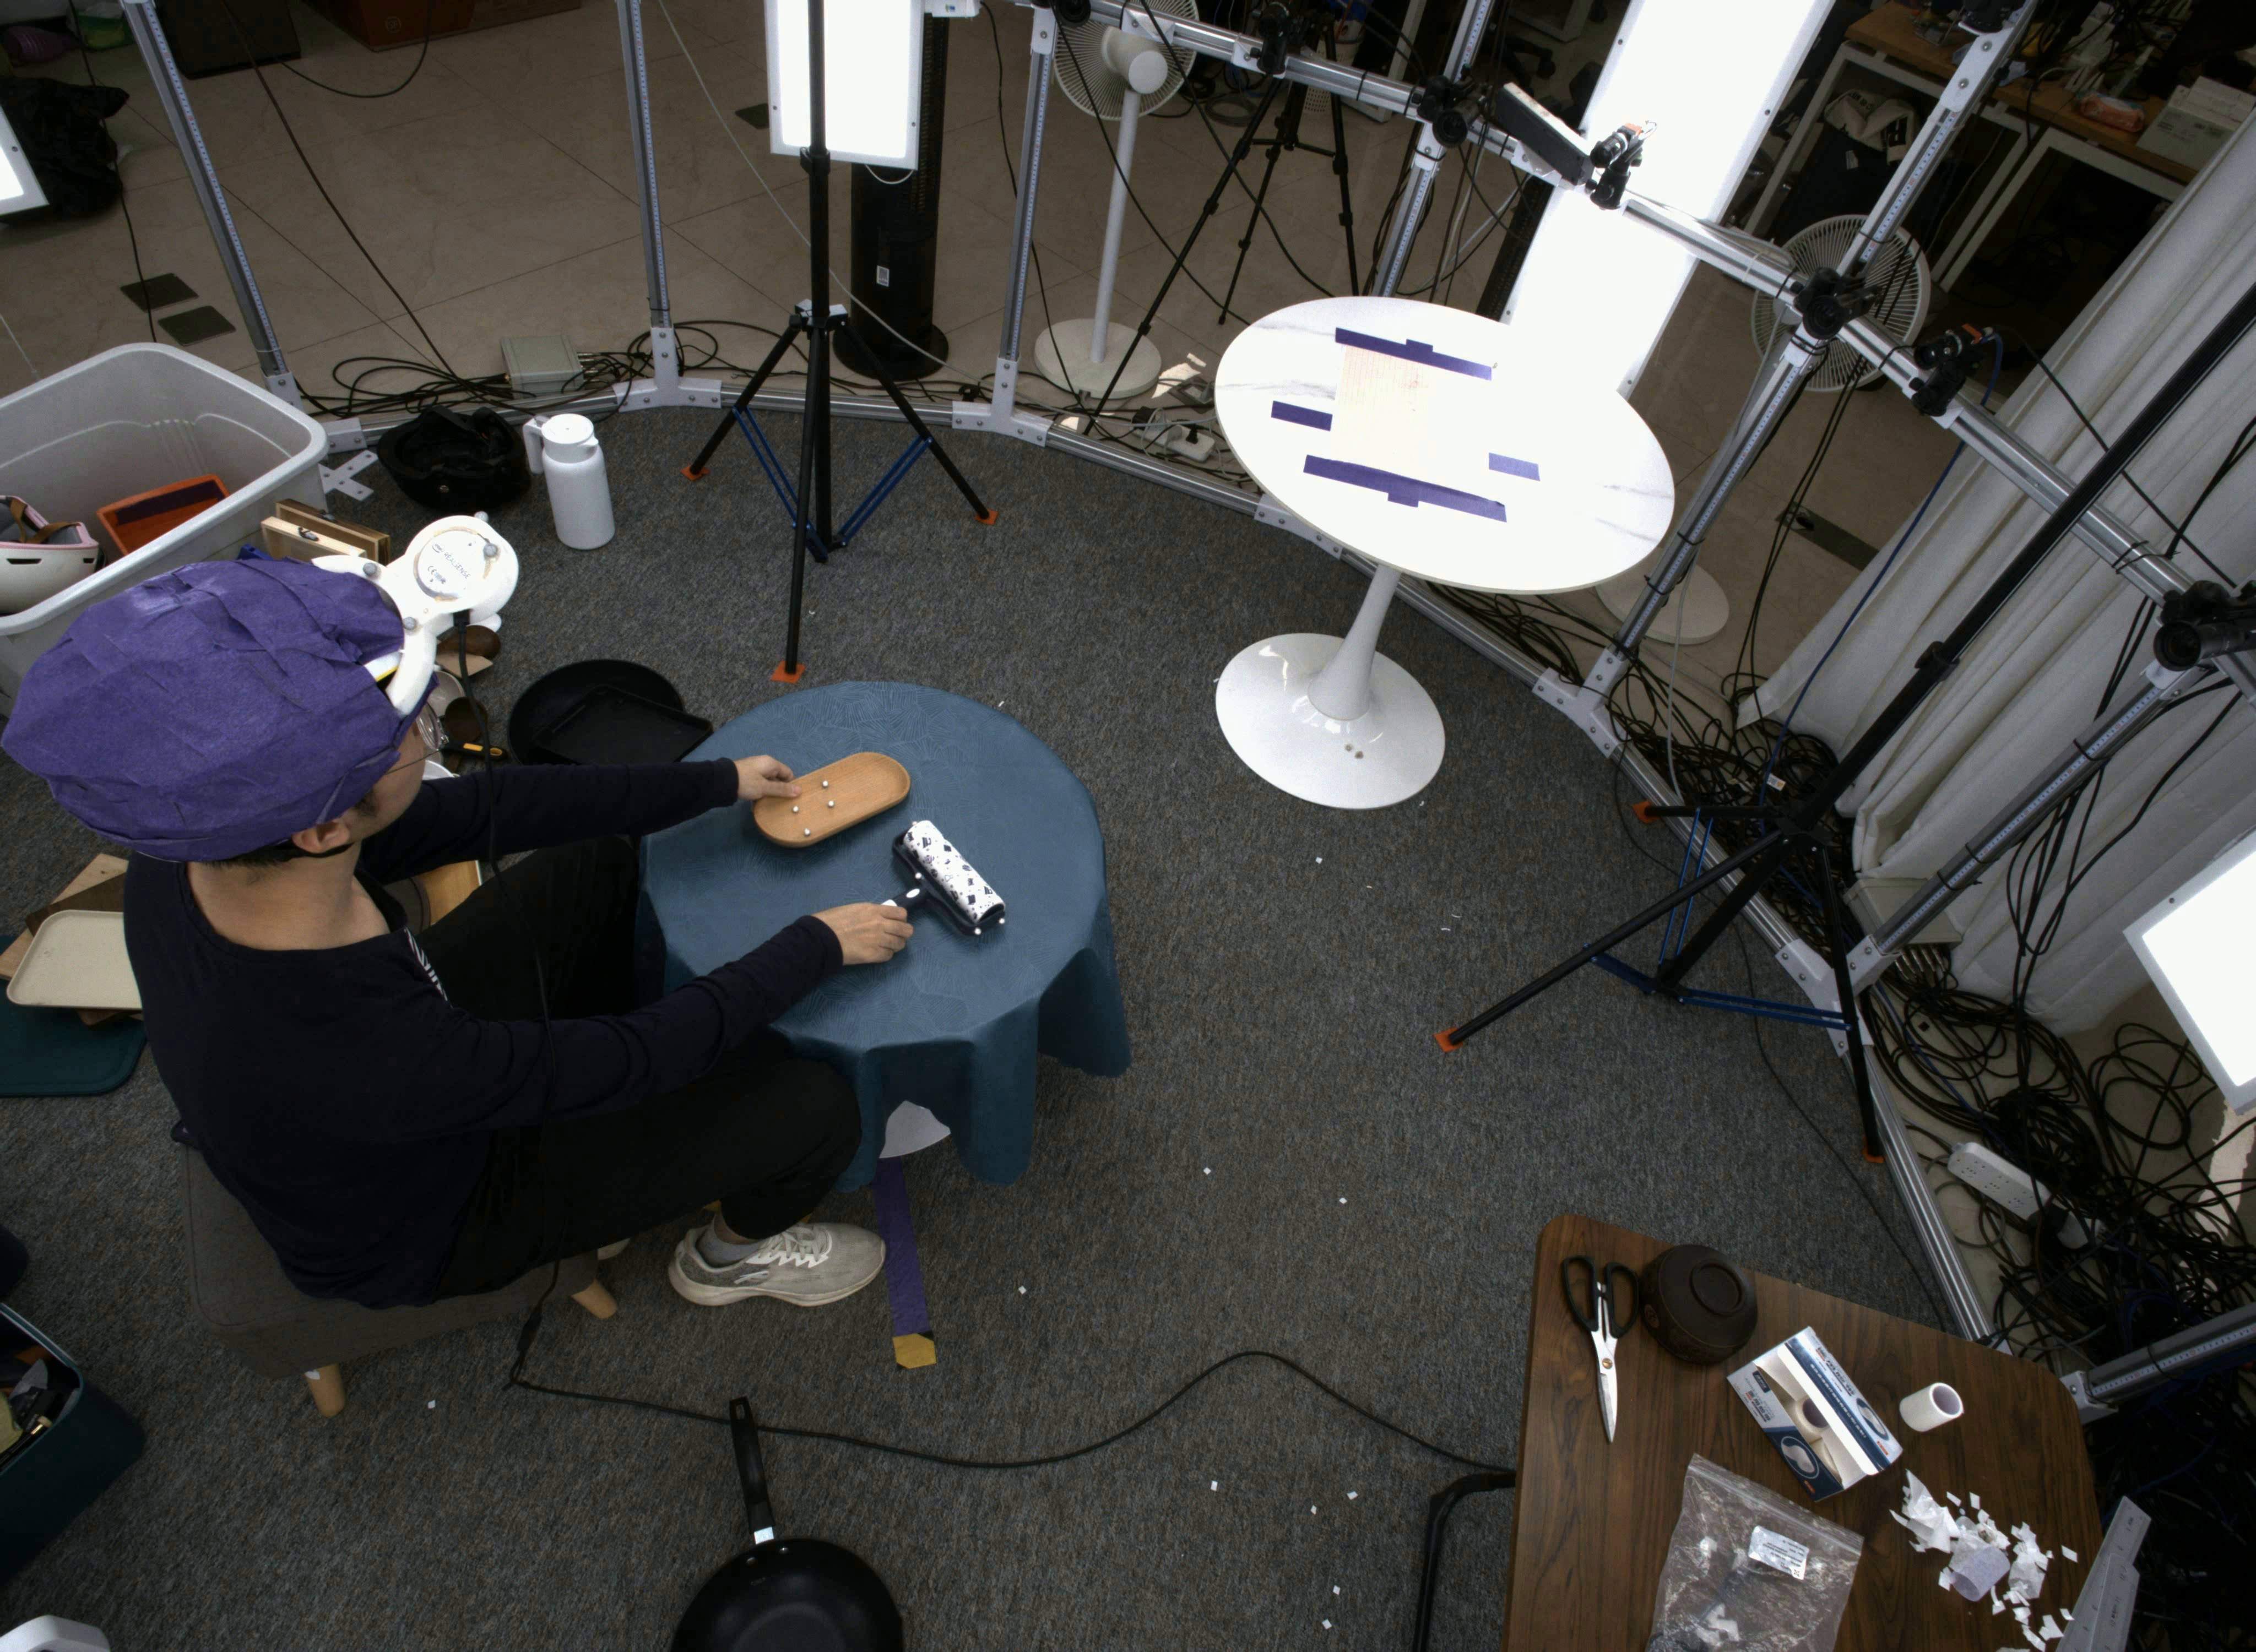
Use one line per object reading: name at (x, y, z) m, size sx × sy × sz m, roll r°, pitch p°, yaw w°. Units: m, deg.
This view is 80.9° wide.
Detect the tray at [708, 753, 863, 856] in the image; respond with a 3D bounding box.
tray at (-0.453, -0.031, 1.721) m, size 0.100 × 0.020 × 0.232 m, roll 43°, pitch 46°, yaw 14°

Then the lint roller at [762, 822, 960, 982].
lint roller at (-0.356, 0.113, 1.641) m, size 0.172 × 0.051 × 0.247 m, roll 43°, pitch 58°, yaw 17°
